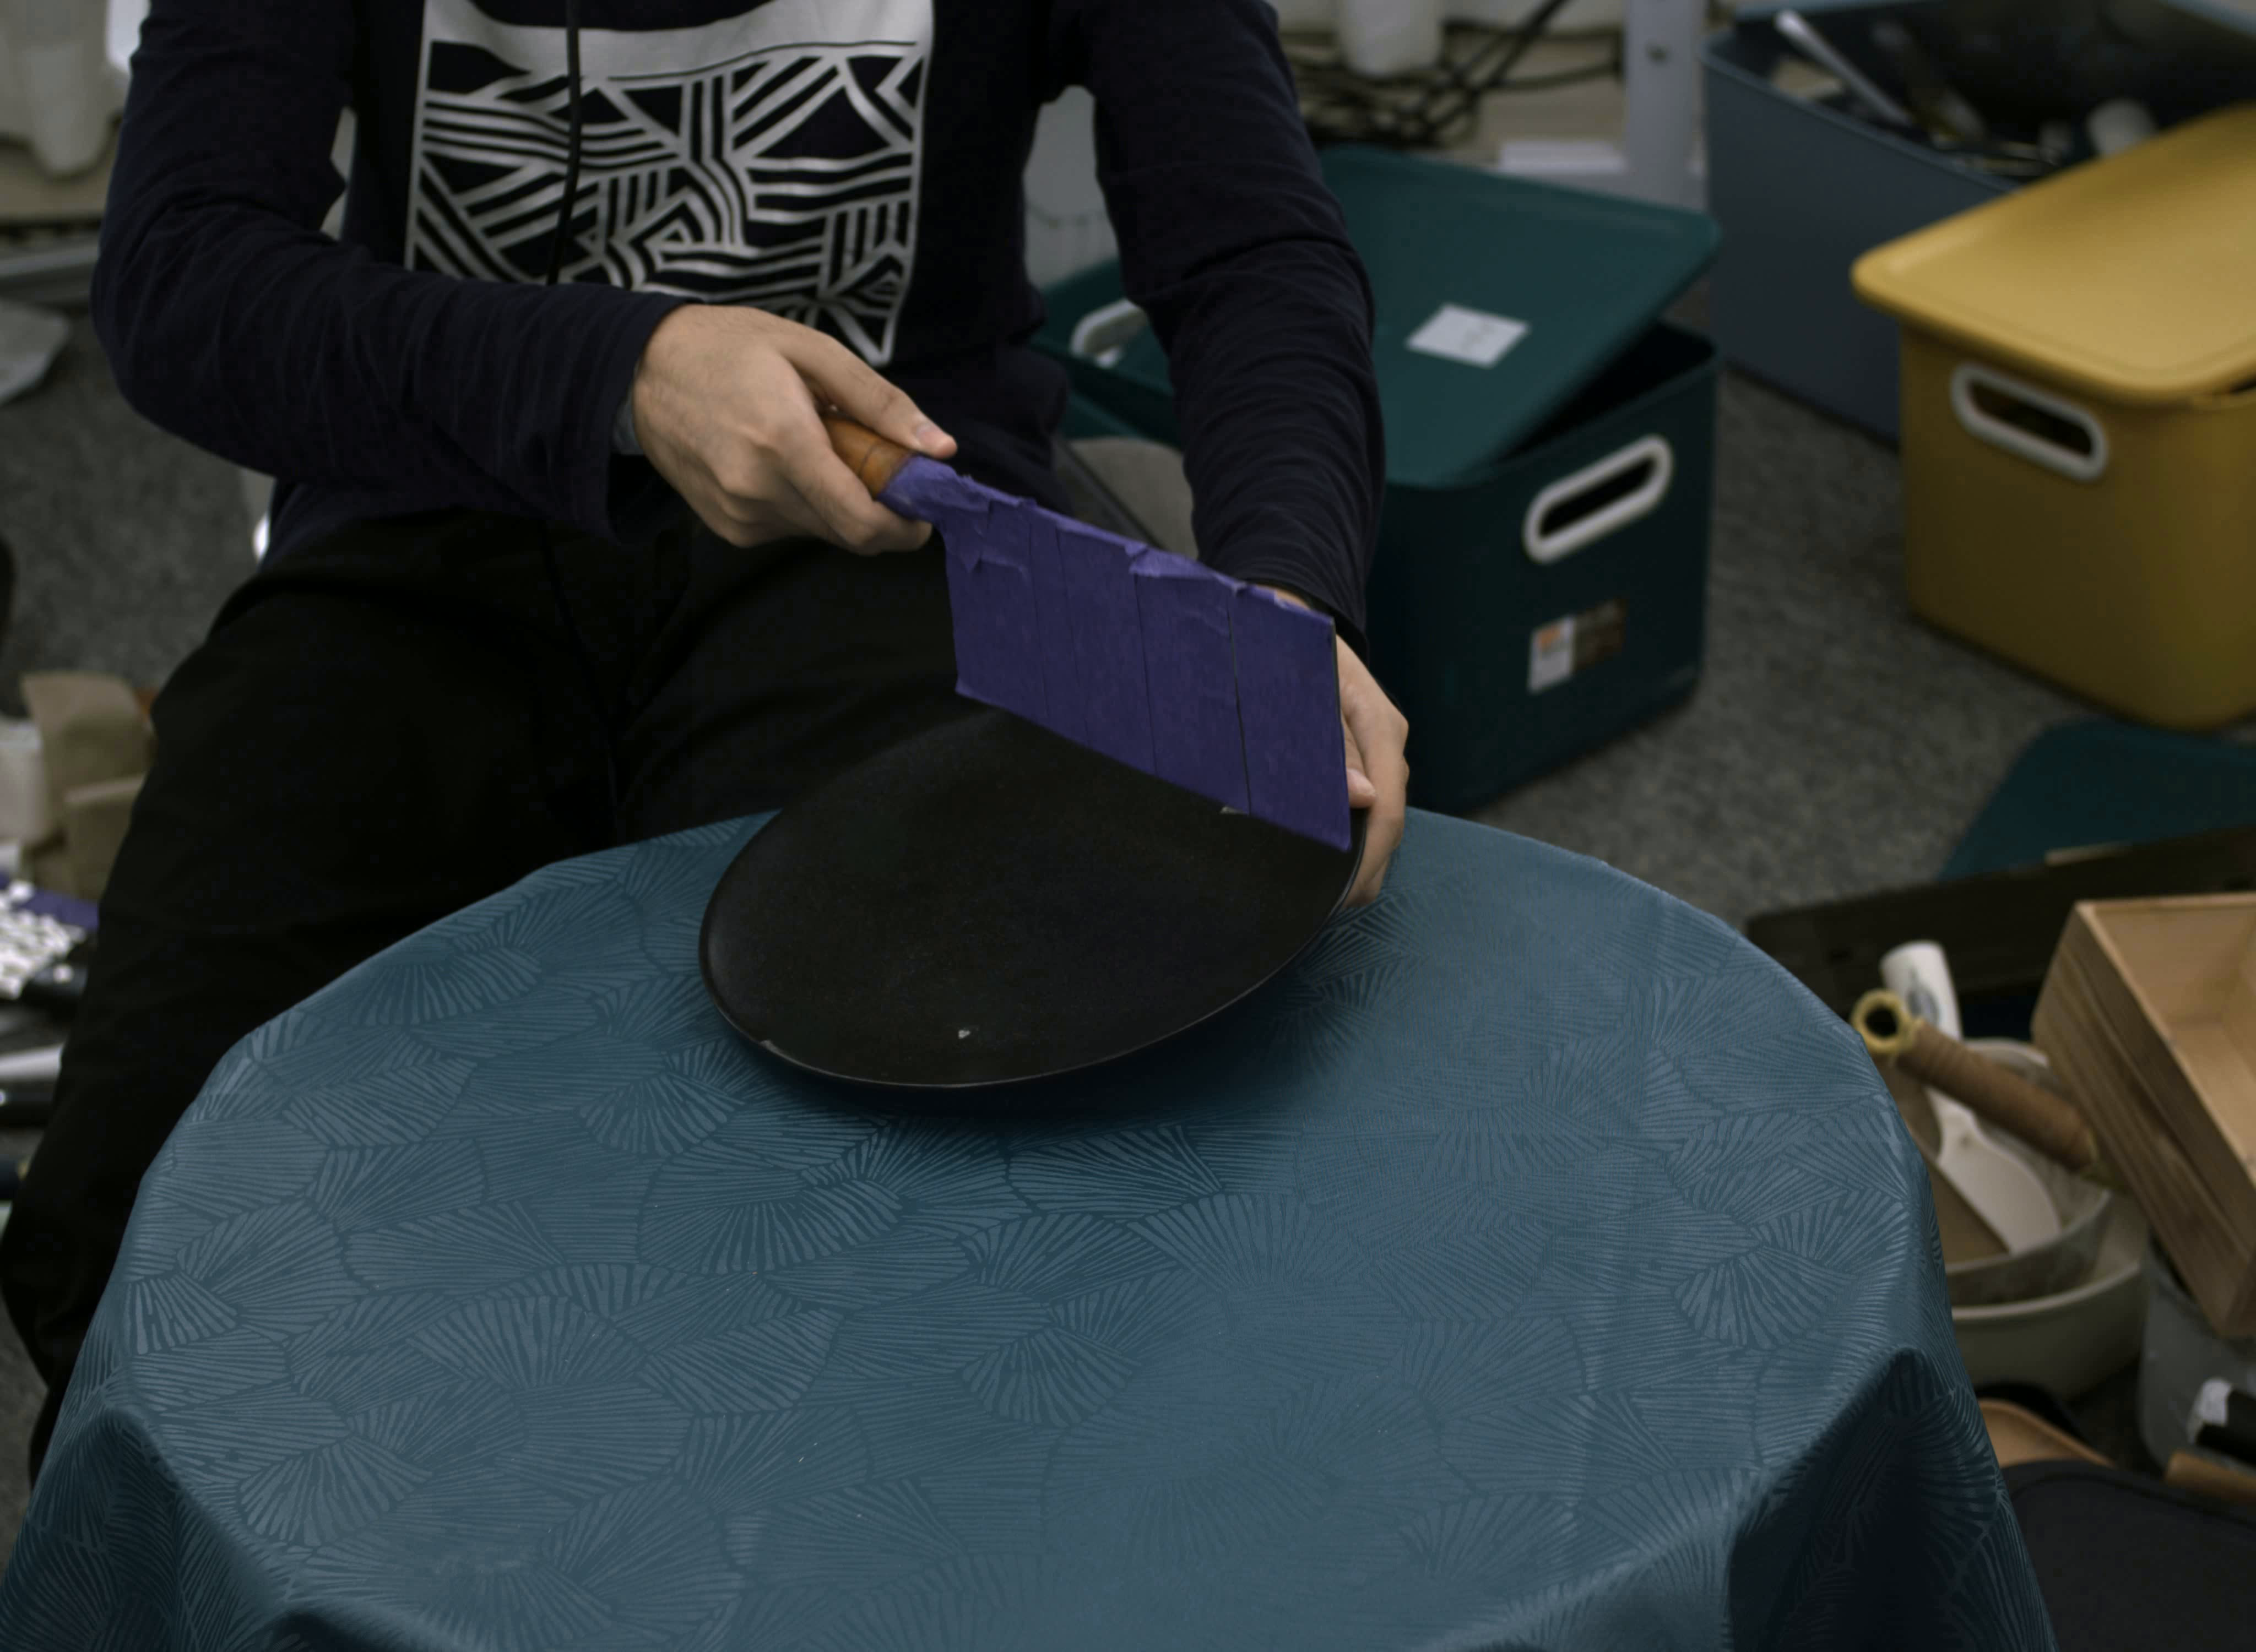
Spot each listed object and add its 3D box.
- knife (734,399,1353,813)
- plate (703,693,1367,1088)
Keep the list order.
[{"bbox_3d":[-0.034,-0.077,2.006,0.032,0.103,0.315,-22,30,-34],"label":"knife"},{"bbox_3d":[-0.032,0.023,1.989,0.243,0.023,0.248,-12,32,8],"label":"plate"}]
